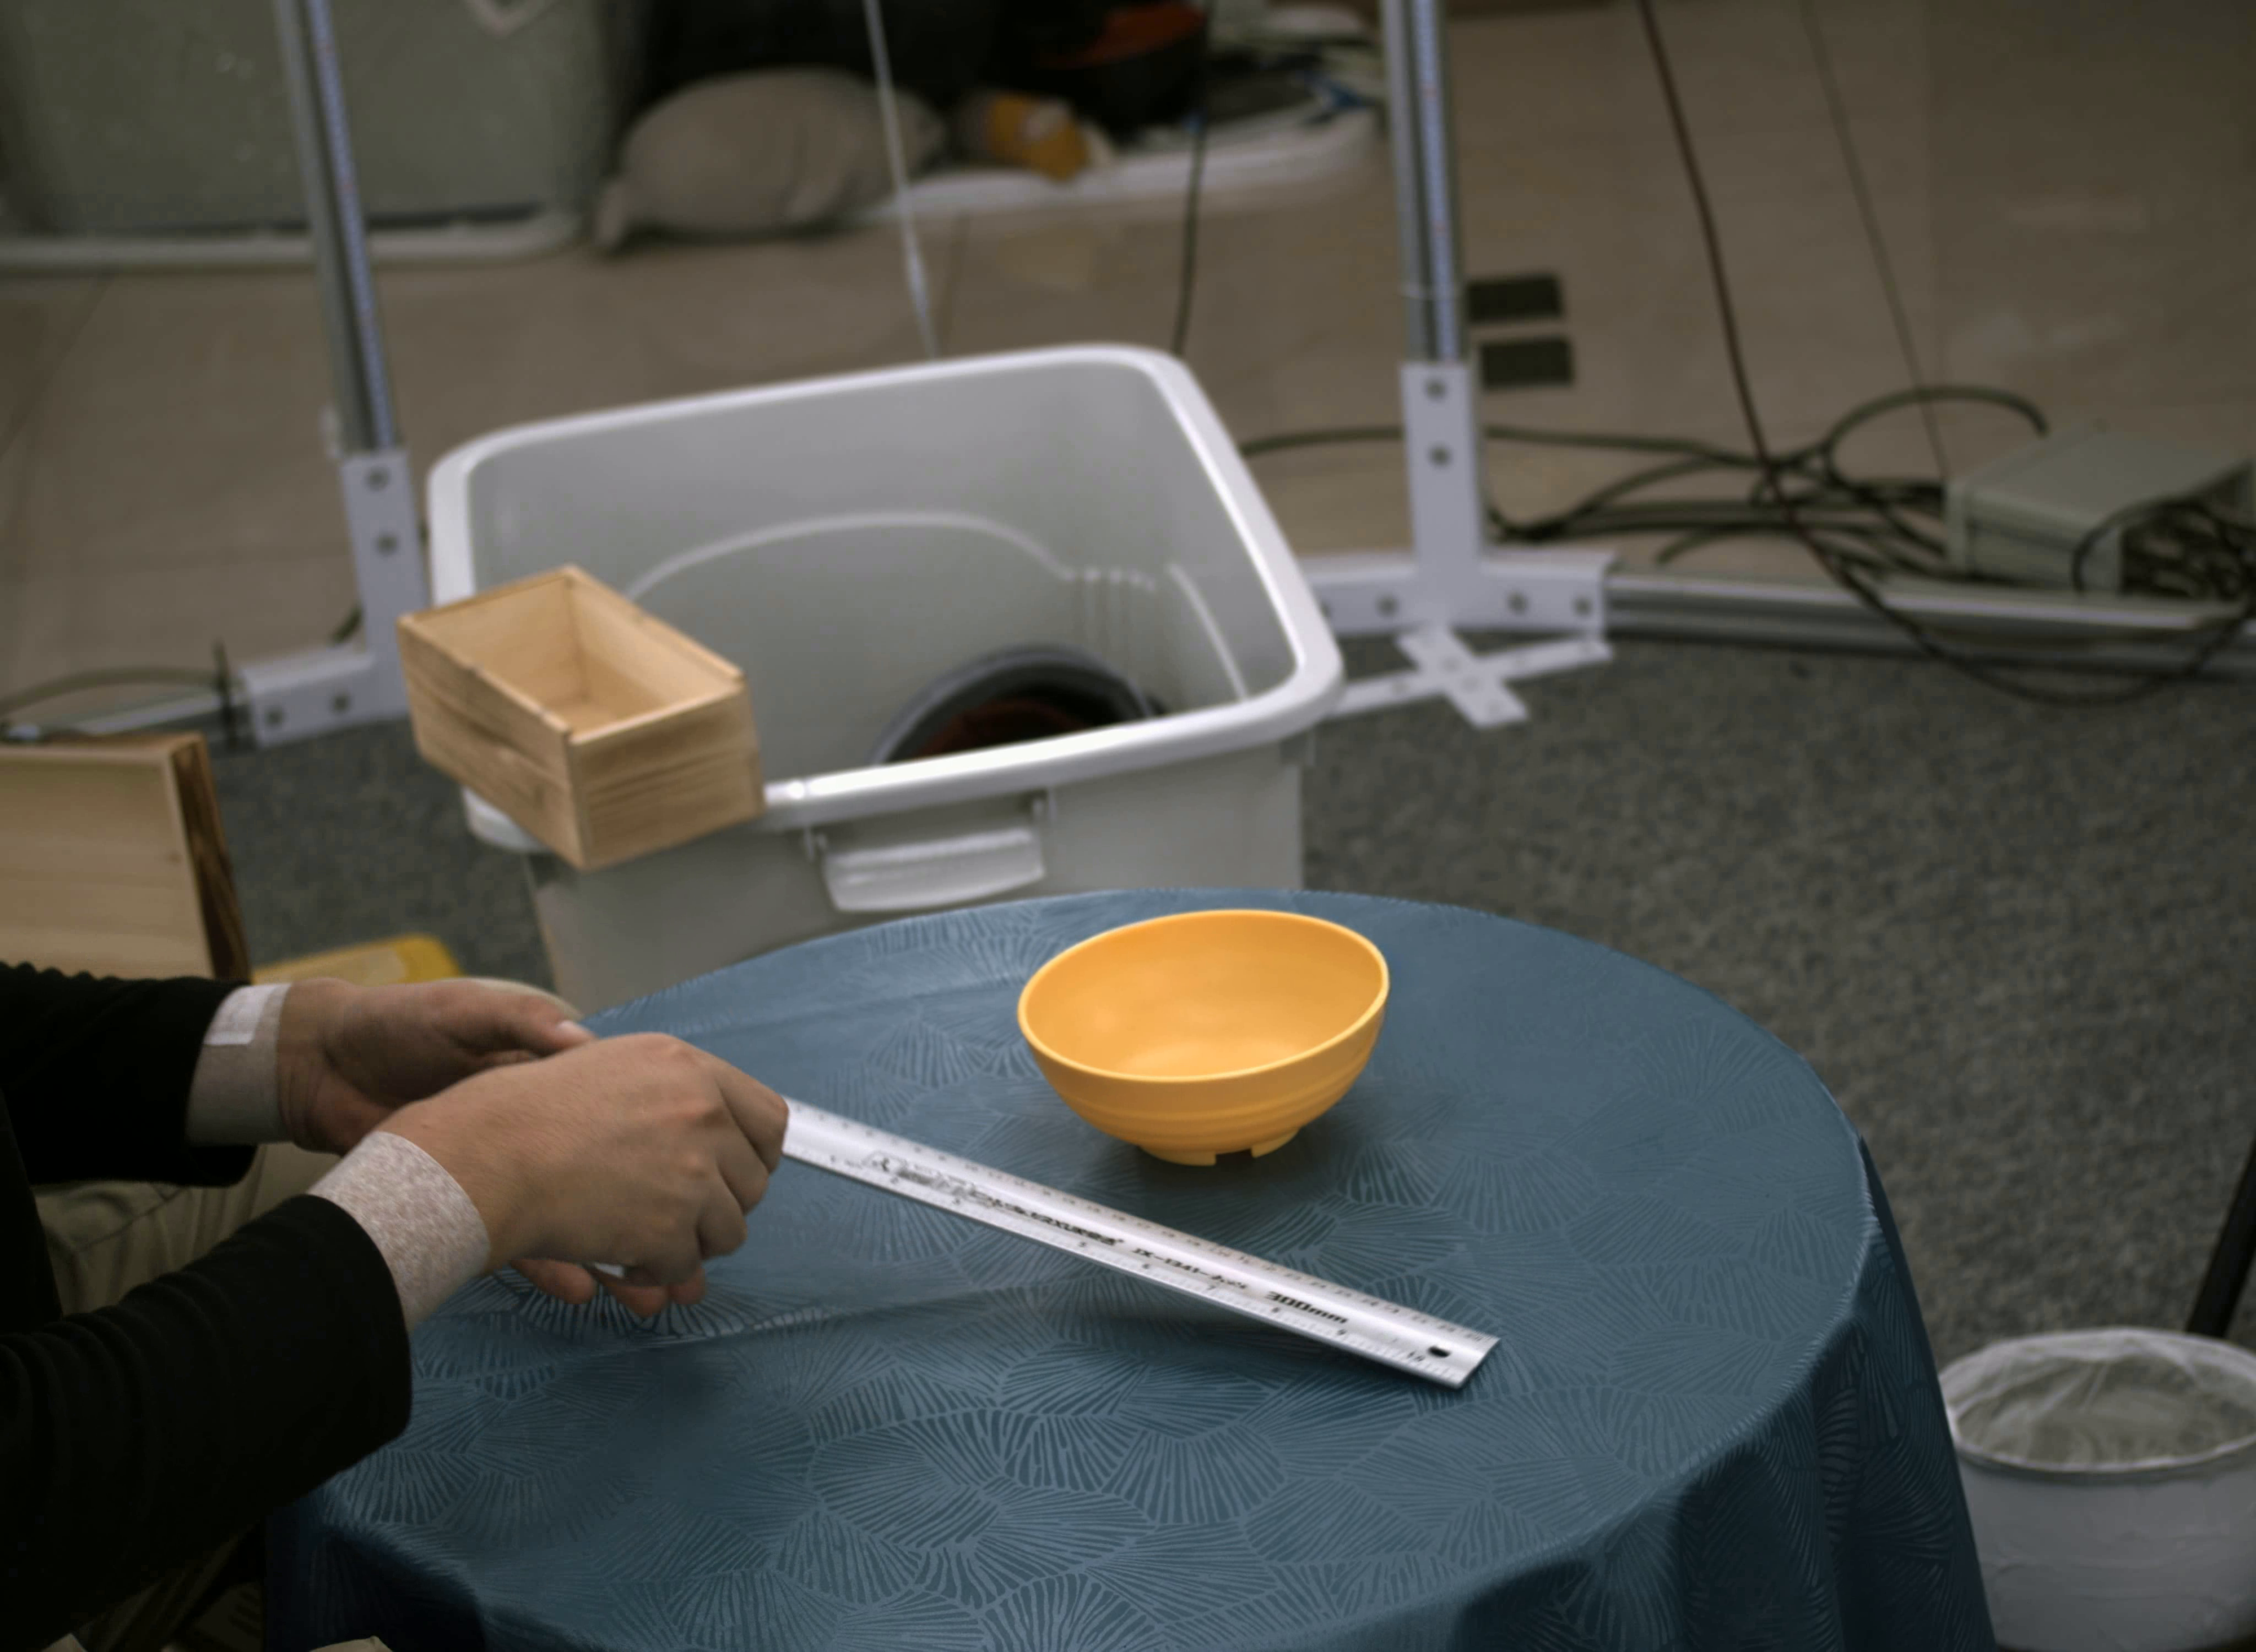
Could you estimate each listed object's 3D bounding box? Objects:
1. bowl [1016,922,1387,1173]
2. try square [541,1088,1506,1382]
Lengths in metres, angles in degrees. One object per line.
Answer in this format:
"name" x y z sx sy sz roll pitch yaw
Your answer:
"bowl" 0.032 0.092 2.175 0.145 0.061 0.143 -7 23 3
"try square" -0.037 0.166 2.008 0.311 0.016 0.150 16 27 17
